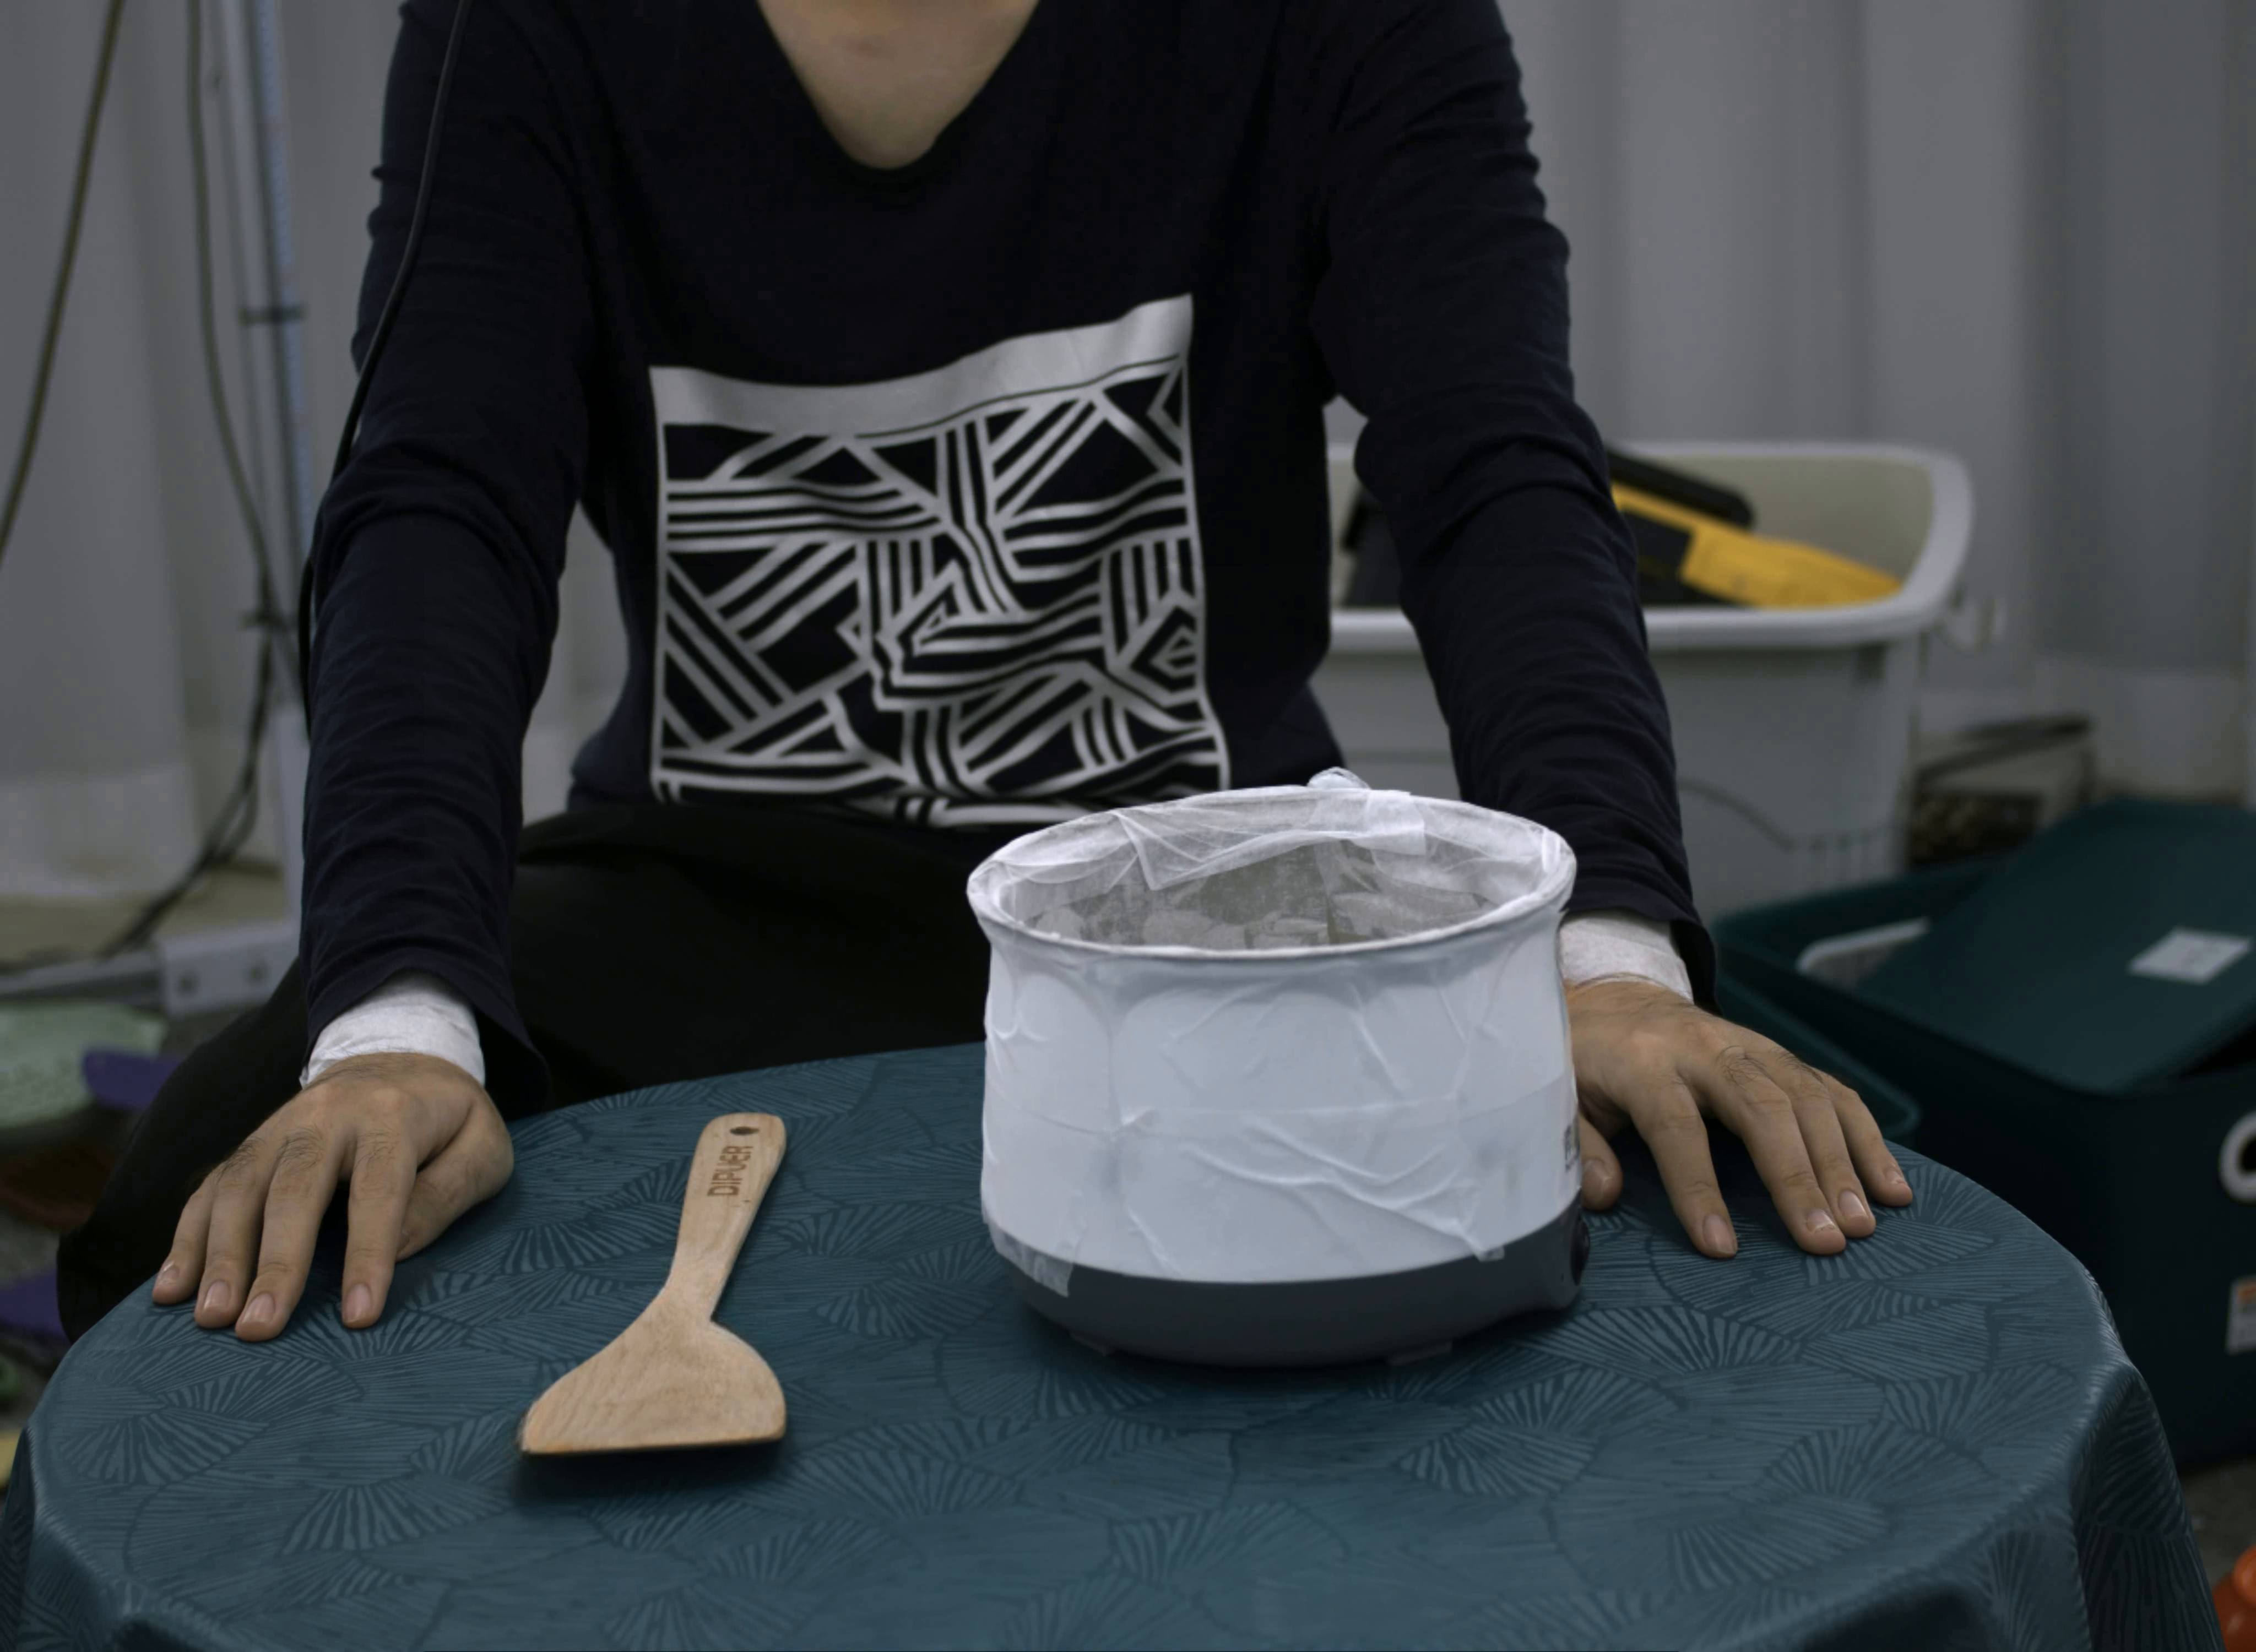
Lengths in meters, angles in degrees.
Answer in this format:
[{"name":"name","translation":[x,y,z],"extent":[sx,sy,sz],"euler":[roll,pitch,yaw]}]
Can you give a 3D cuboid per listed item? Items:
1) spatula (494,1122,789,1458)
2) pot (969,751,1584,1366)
[{"name":"spatula","translation":[-0.129,0.135,1.633],"extent":[0.080,0.016,0.329],"euler":[-1,14,2]},{"name":"pot","translation":[0.049,0.063,1.625],"extent":[0.178,0.136,0.235],"euler":[1,17,11]}]
